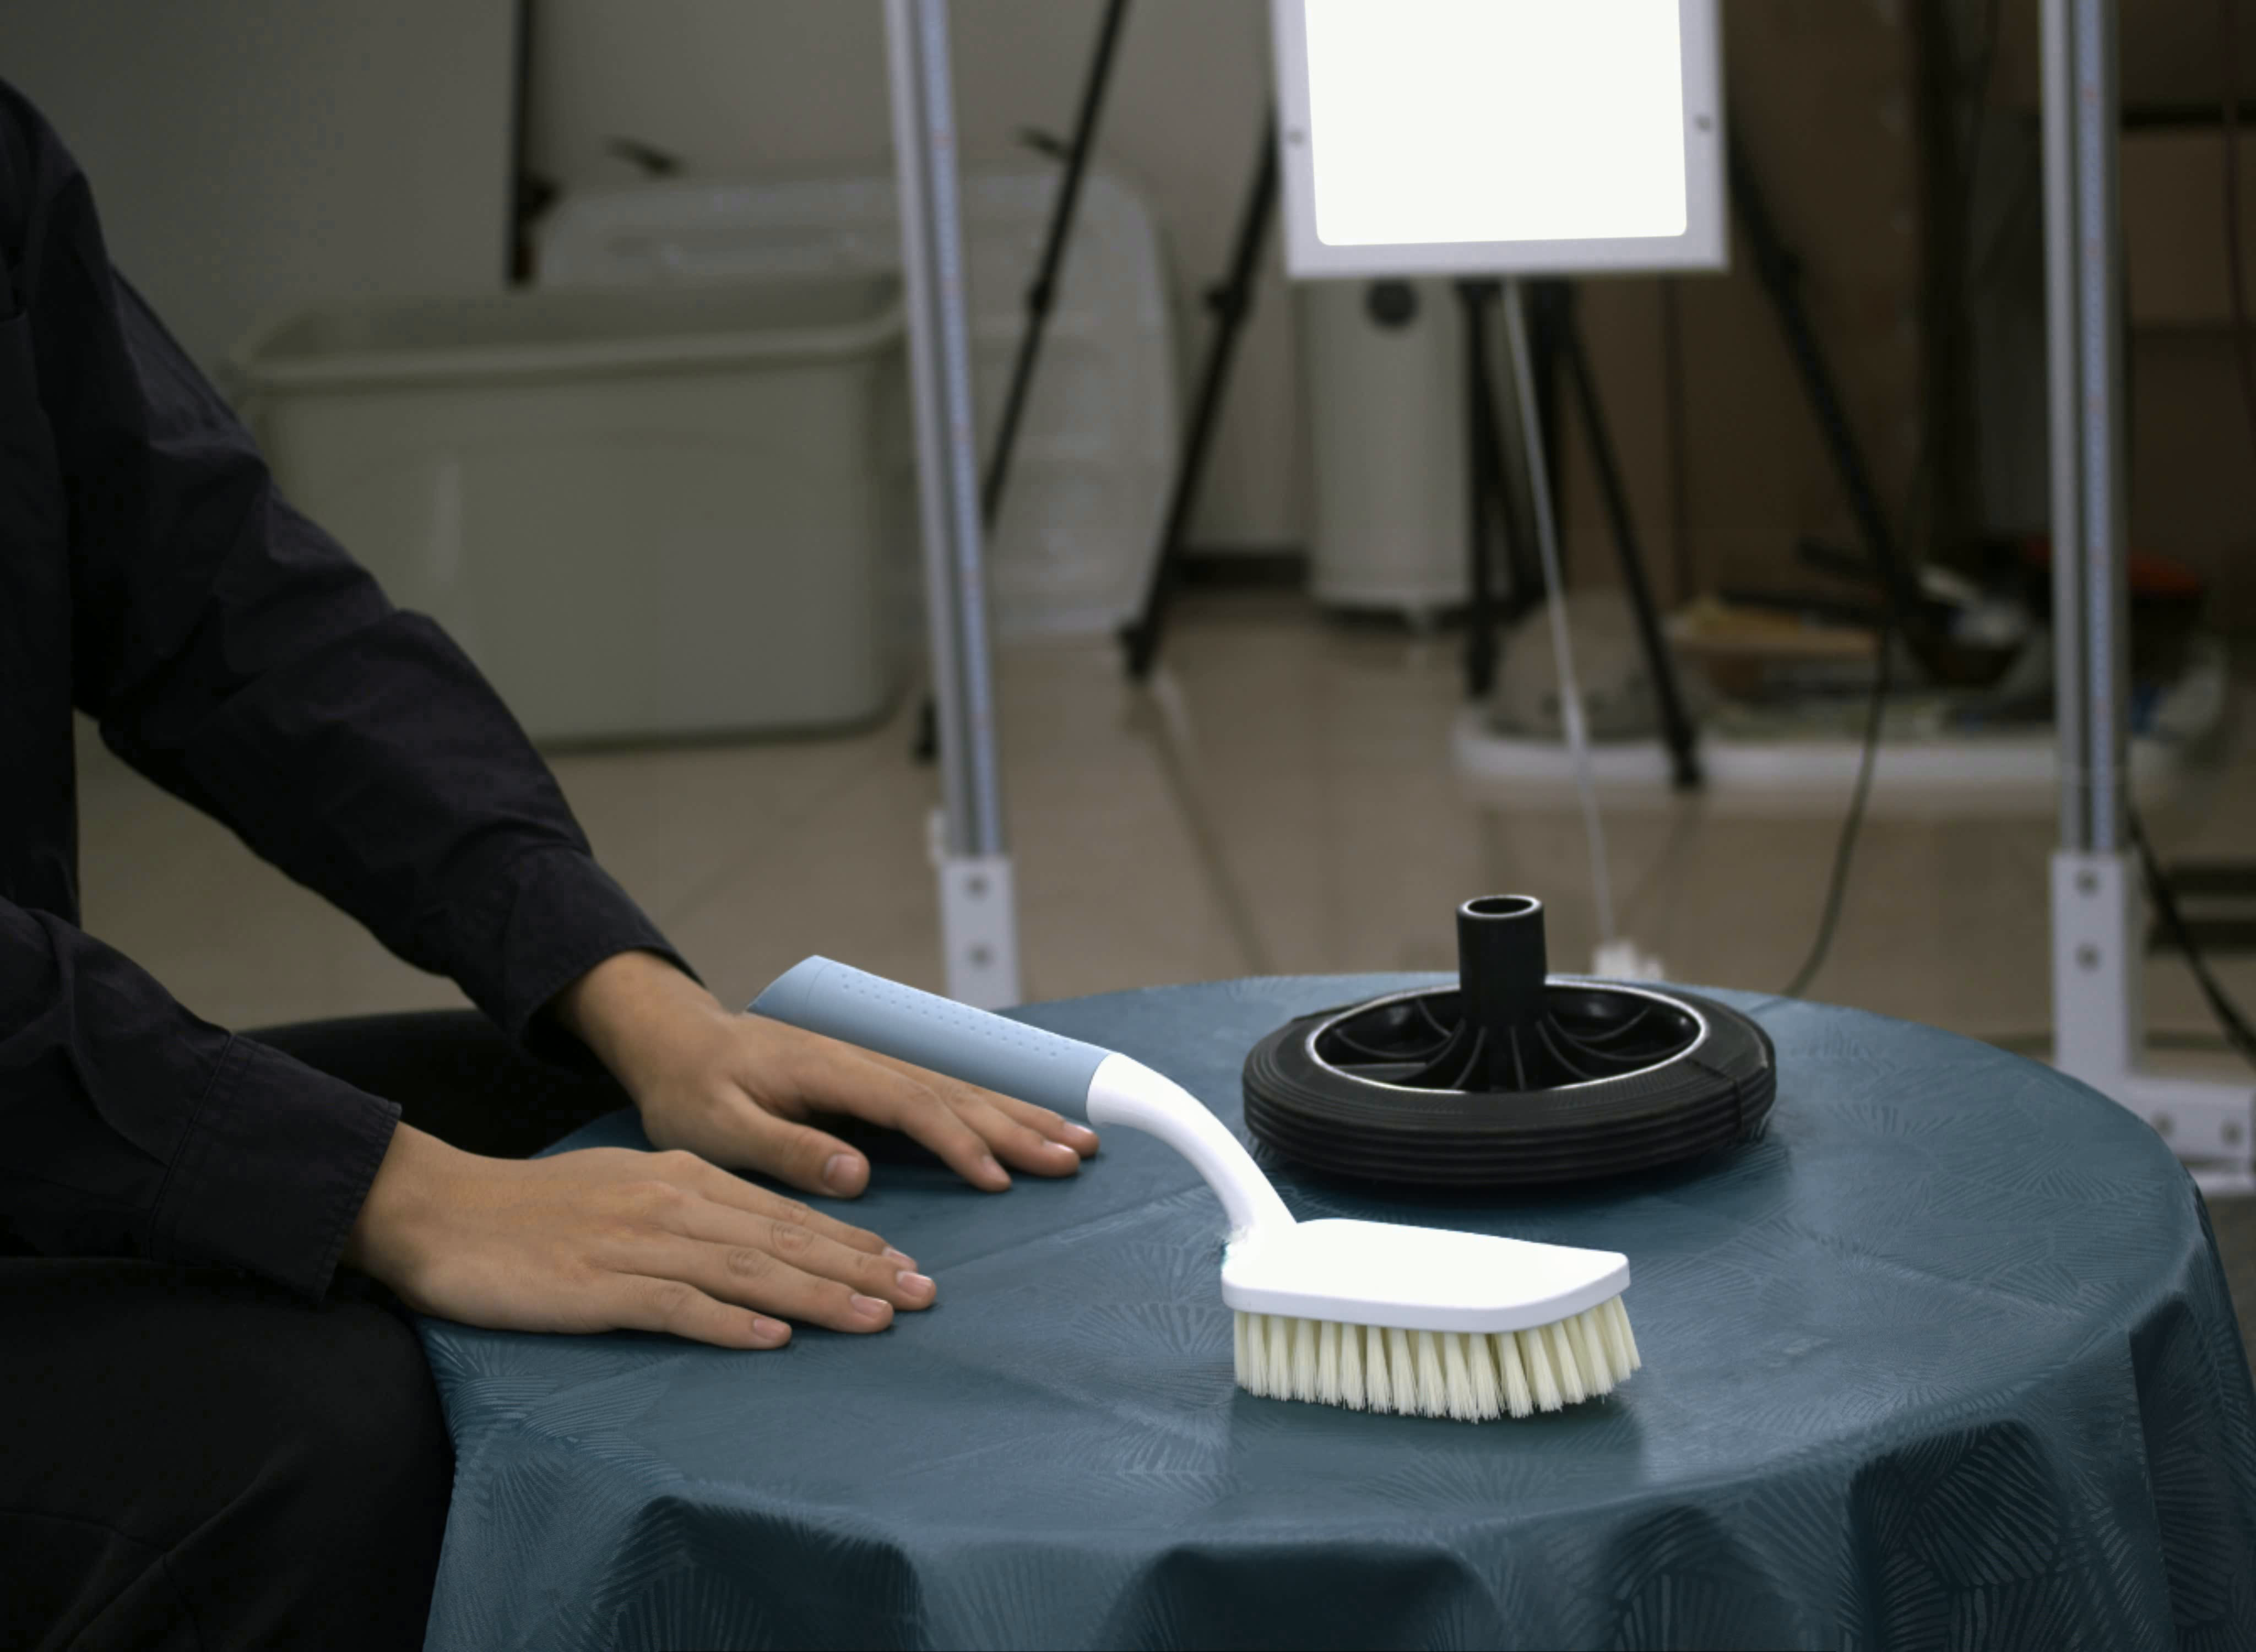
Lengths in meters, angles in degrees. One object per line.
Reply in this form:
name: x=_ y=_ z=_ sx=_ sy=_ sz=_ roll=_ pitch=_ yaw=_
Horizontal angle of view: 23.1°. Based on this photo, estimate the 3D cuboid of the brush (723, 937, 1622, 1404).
brush: x=0.008 y=0.121 z=1.734 sx=0.331 sy=0.084 sz=0.082 roll=17 pitch=-14 yaw=28

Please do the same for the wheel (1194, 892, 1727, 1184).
wheel: x=0.115 y=0.065 z=1.925 sx=0.188 sy=0.079 sz=0.188 roll=-3 pitch=16 yaw=6
